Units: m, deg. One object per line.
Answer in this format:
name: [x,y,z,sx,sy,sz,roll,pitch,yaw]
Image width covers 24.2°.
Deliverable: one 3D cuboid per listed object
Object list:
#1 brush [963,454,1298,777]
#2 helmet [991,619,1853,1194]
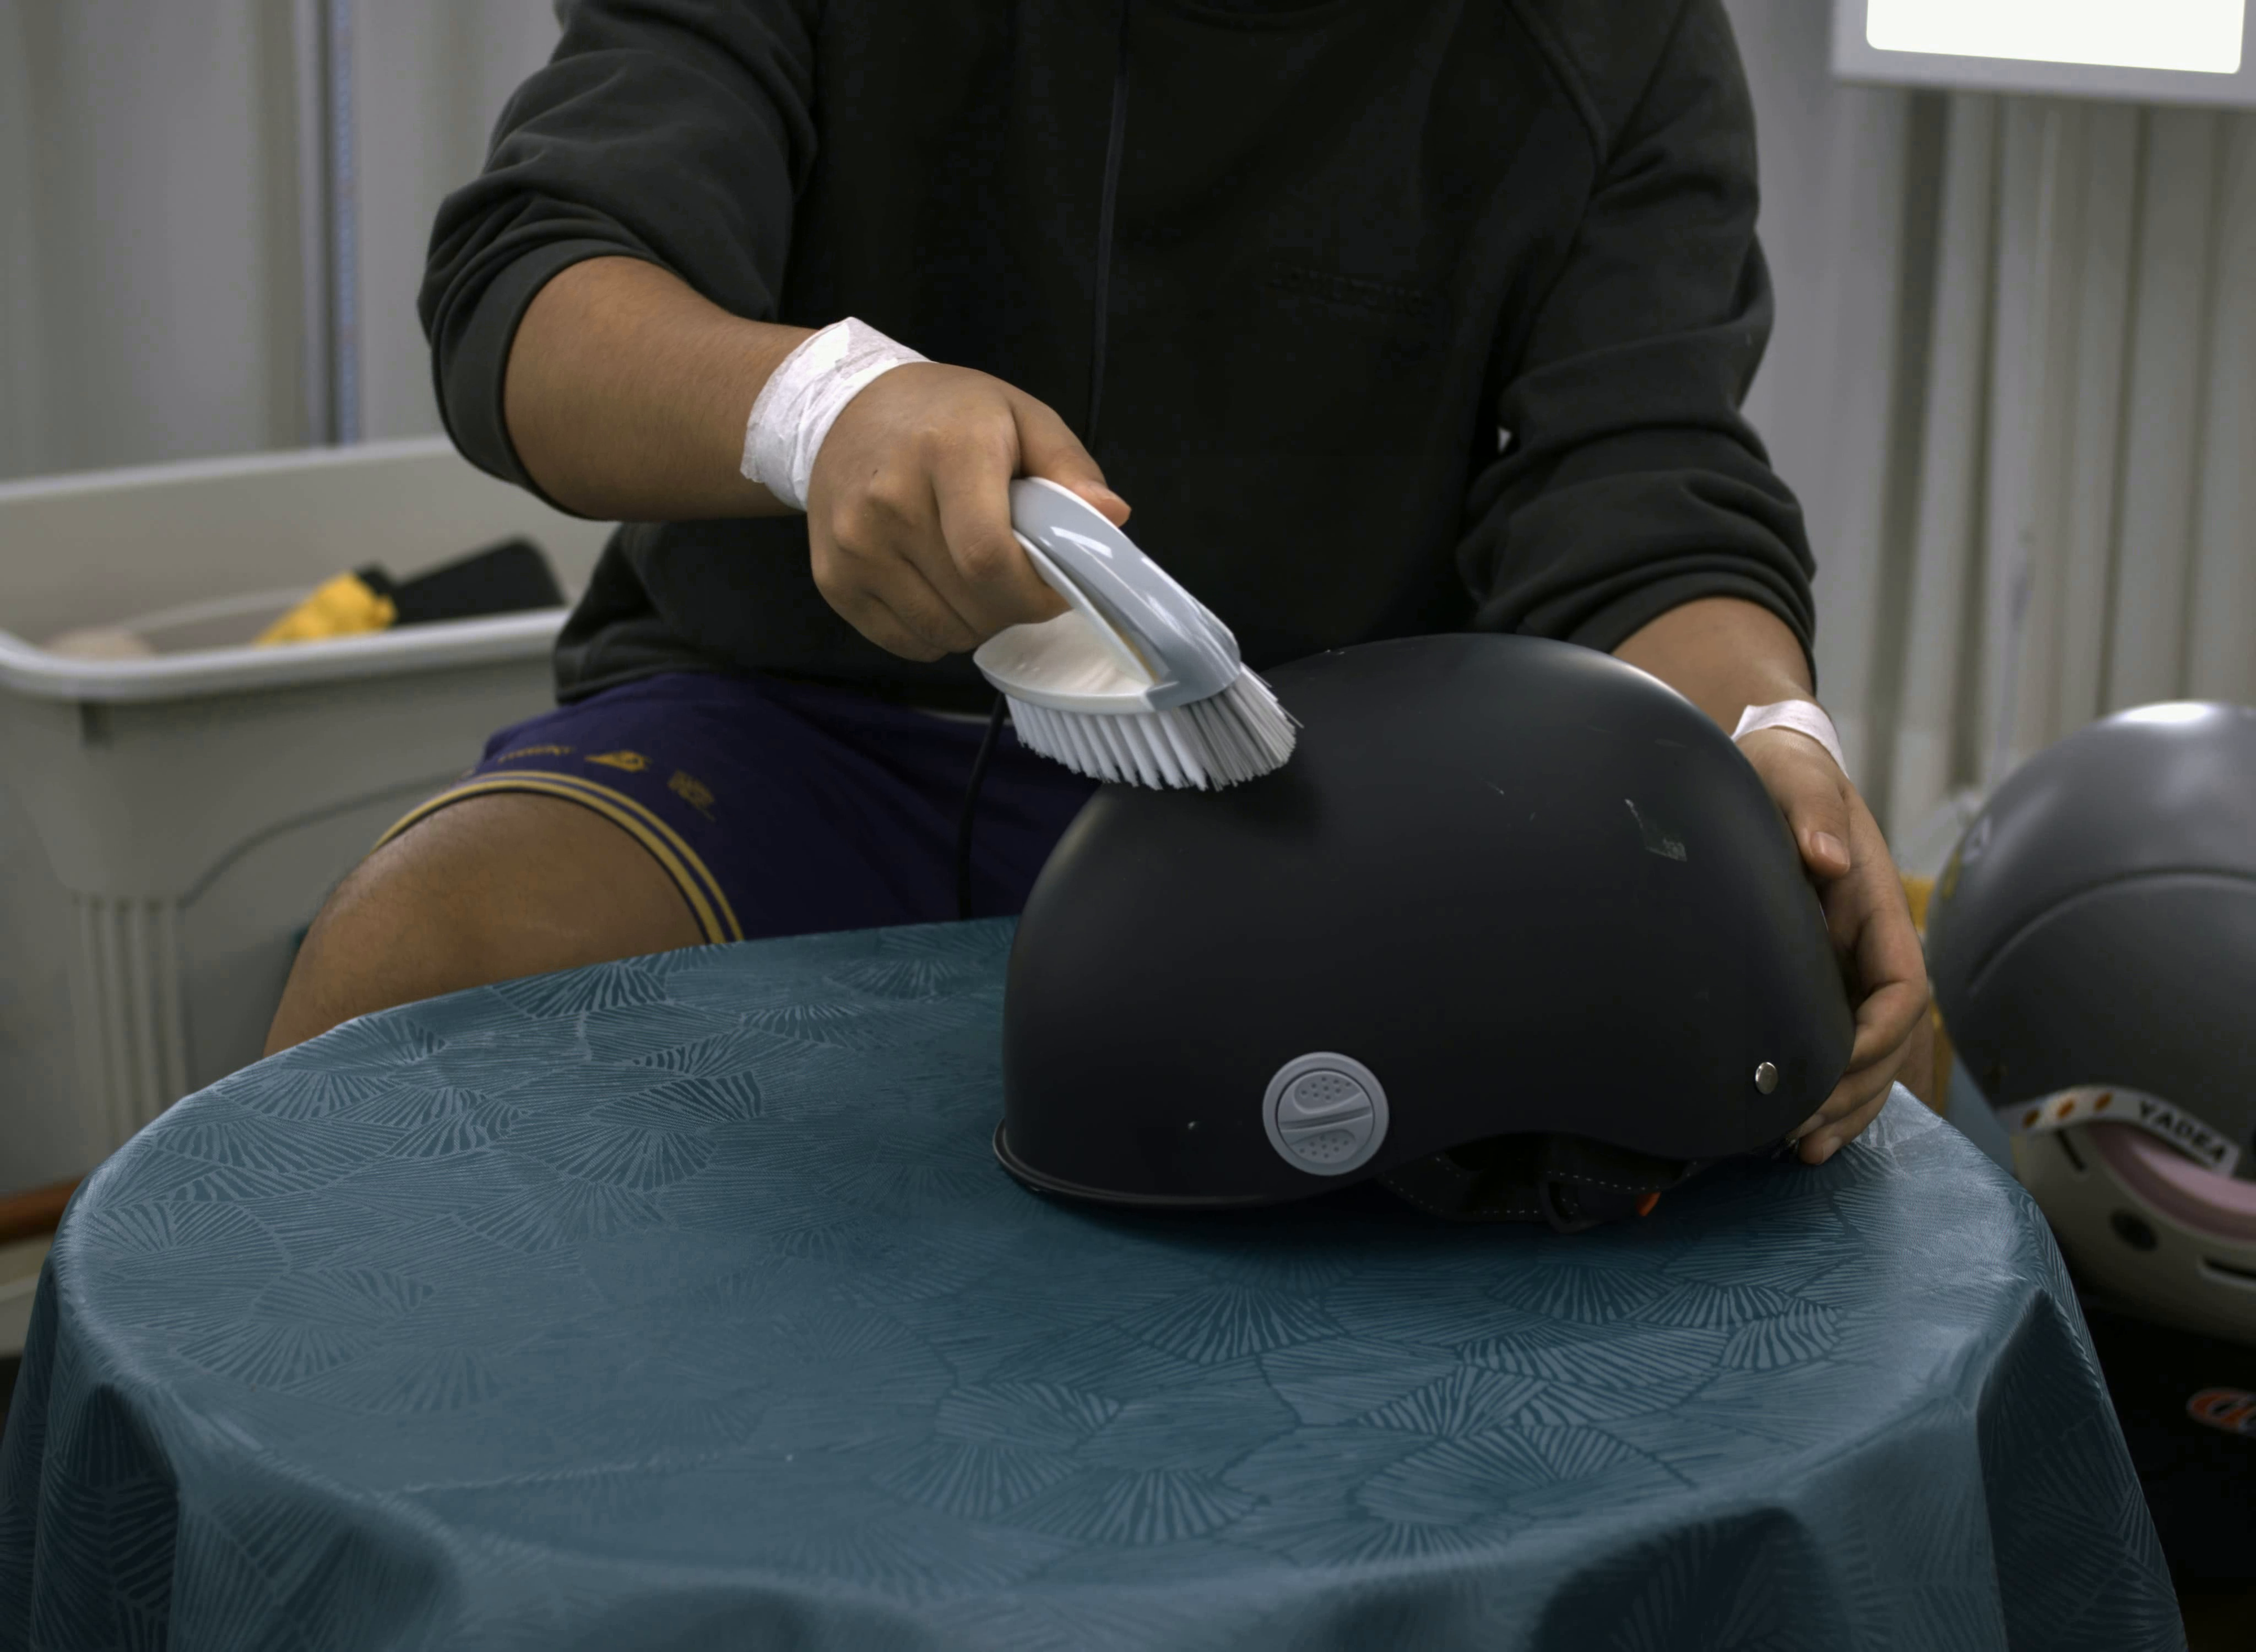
brush: [-0.003,-0.068,1.608,0.061,0.095,0.173,-37,23,-9]
helmet: [0.089,0.021,1.648,0.272,0.168,0.229,-3,14,-1]
